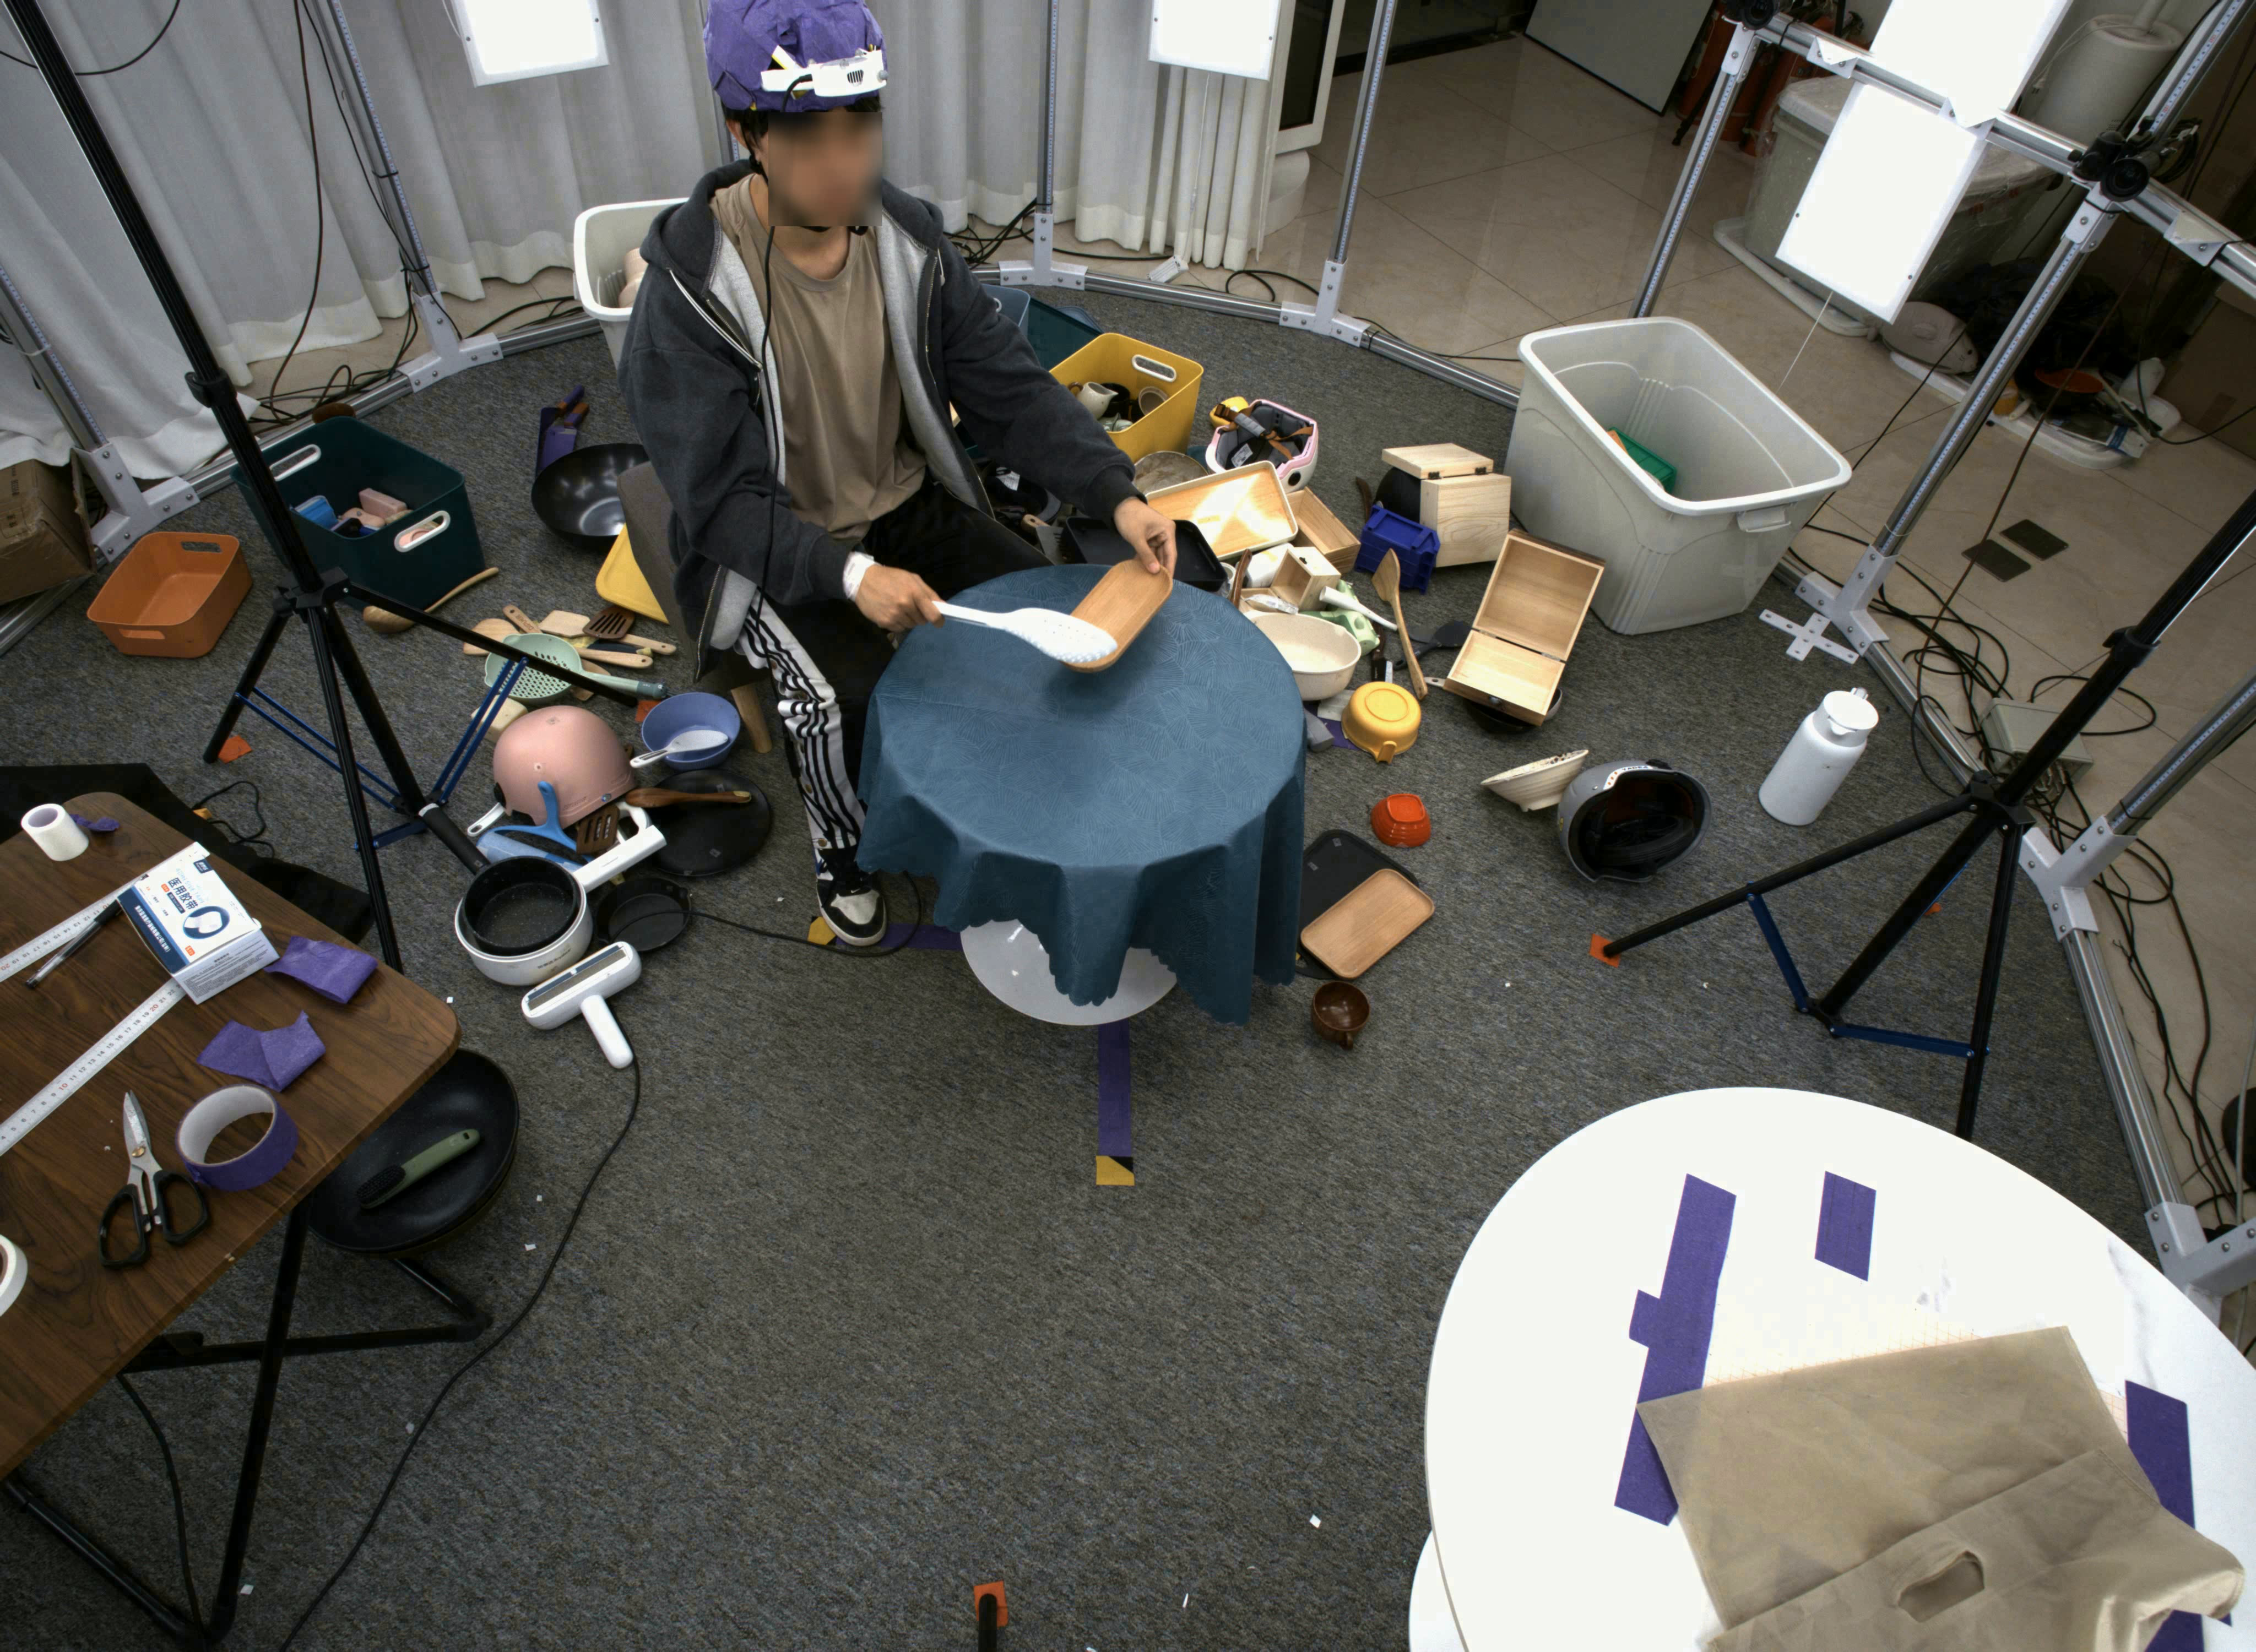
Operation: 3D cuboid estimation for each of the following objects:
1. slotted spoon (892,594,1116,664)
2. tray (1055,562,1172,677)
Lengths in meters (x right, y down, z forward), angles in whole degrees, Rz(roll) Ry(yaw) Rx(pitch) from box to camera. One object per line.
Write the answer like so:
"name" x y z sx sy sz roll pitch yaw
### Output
"slotted spoon" -0.175 -0.274 1.728 0.353 0.134 0.046 21 83 28
"tray" -0.020 -0.297 1.839 0.102 0.020 0.234 24 59 20
